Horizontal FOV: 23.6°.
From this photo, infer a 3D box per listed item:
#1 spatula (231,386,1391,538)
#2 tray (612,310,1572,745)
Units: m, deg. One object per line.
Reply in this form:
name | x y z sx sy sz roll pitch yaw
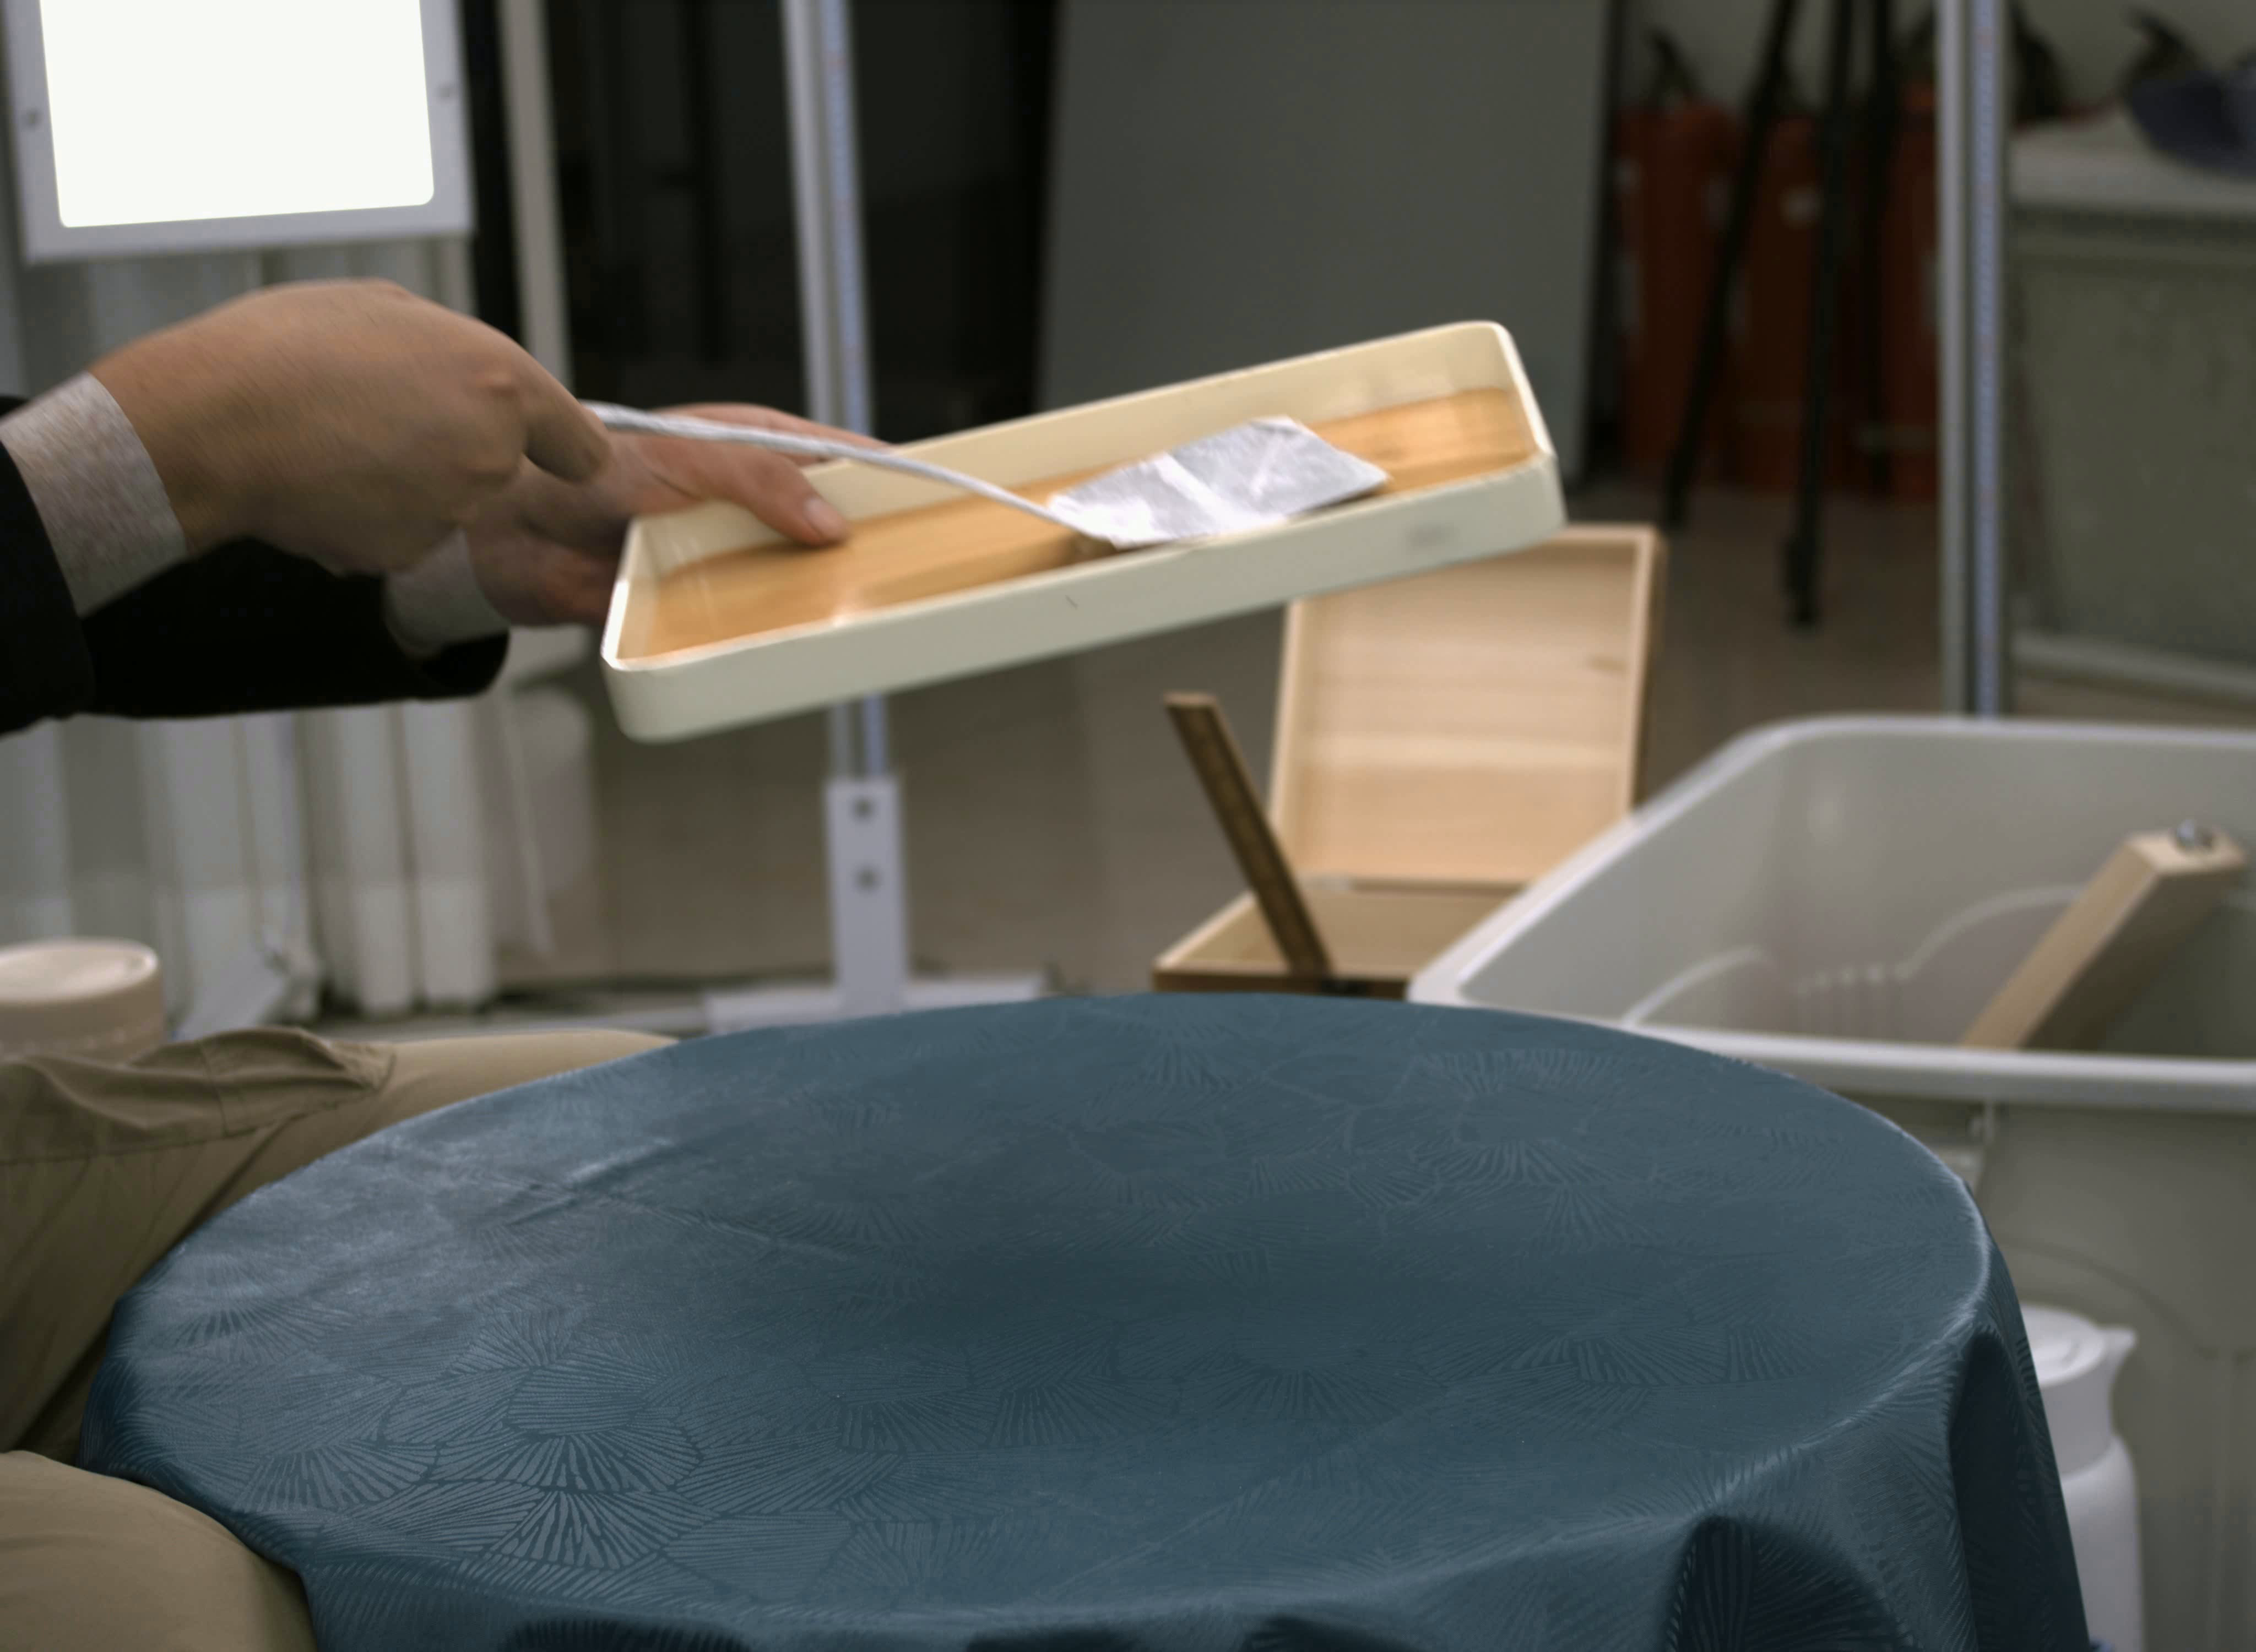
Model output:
spatula | -0.093 -0.121 1.658 0.357 0.045 0.099 7 14 -21
tray | -0.013 -0.096 1.711 0.297 0.027 0.192 -13 19 5
